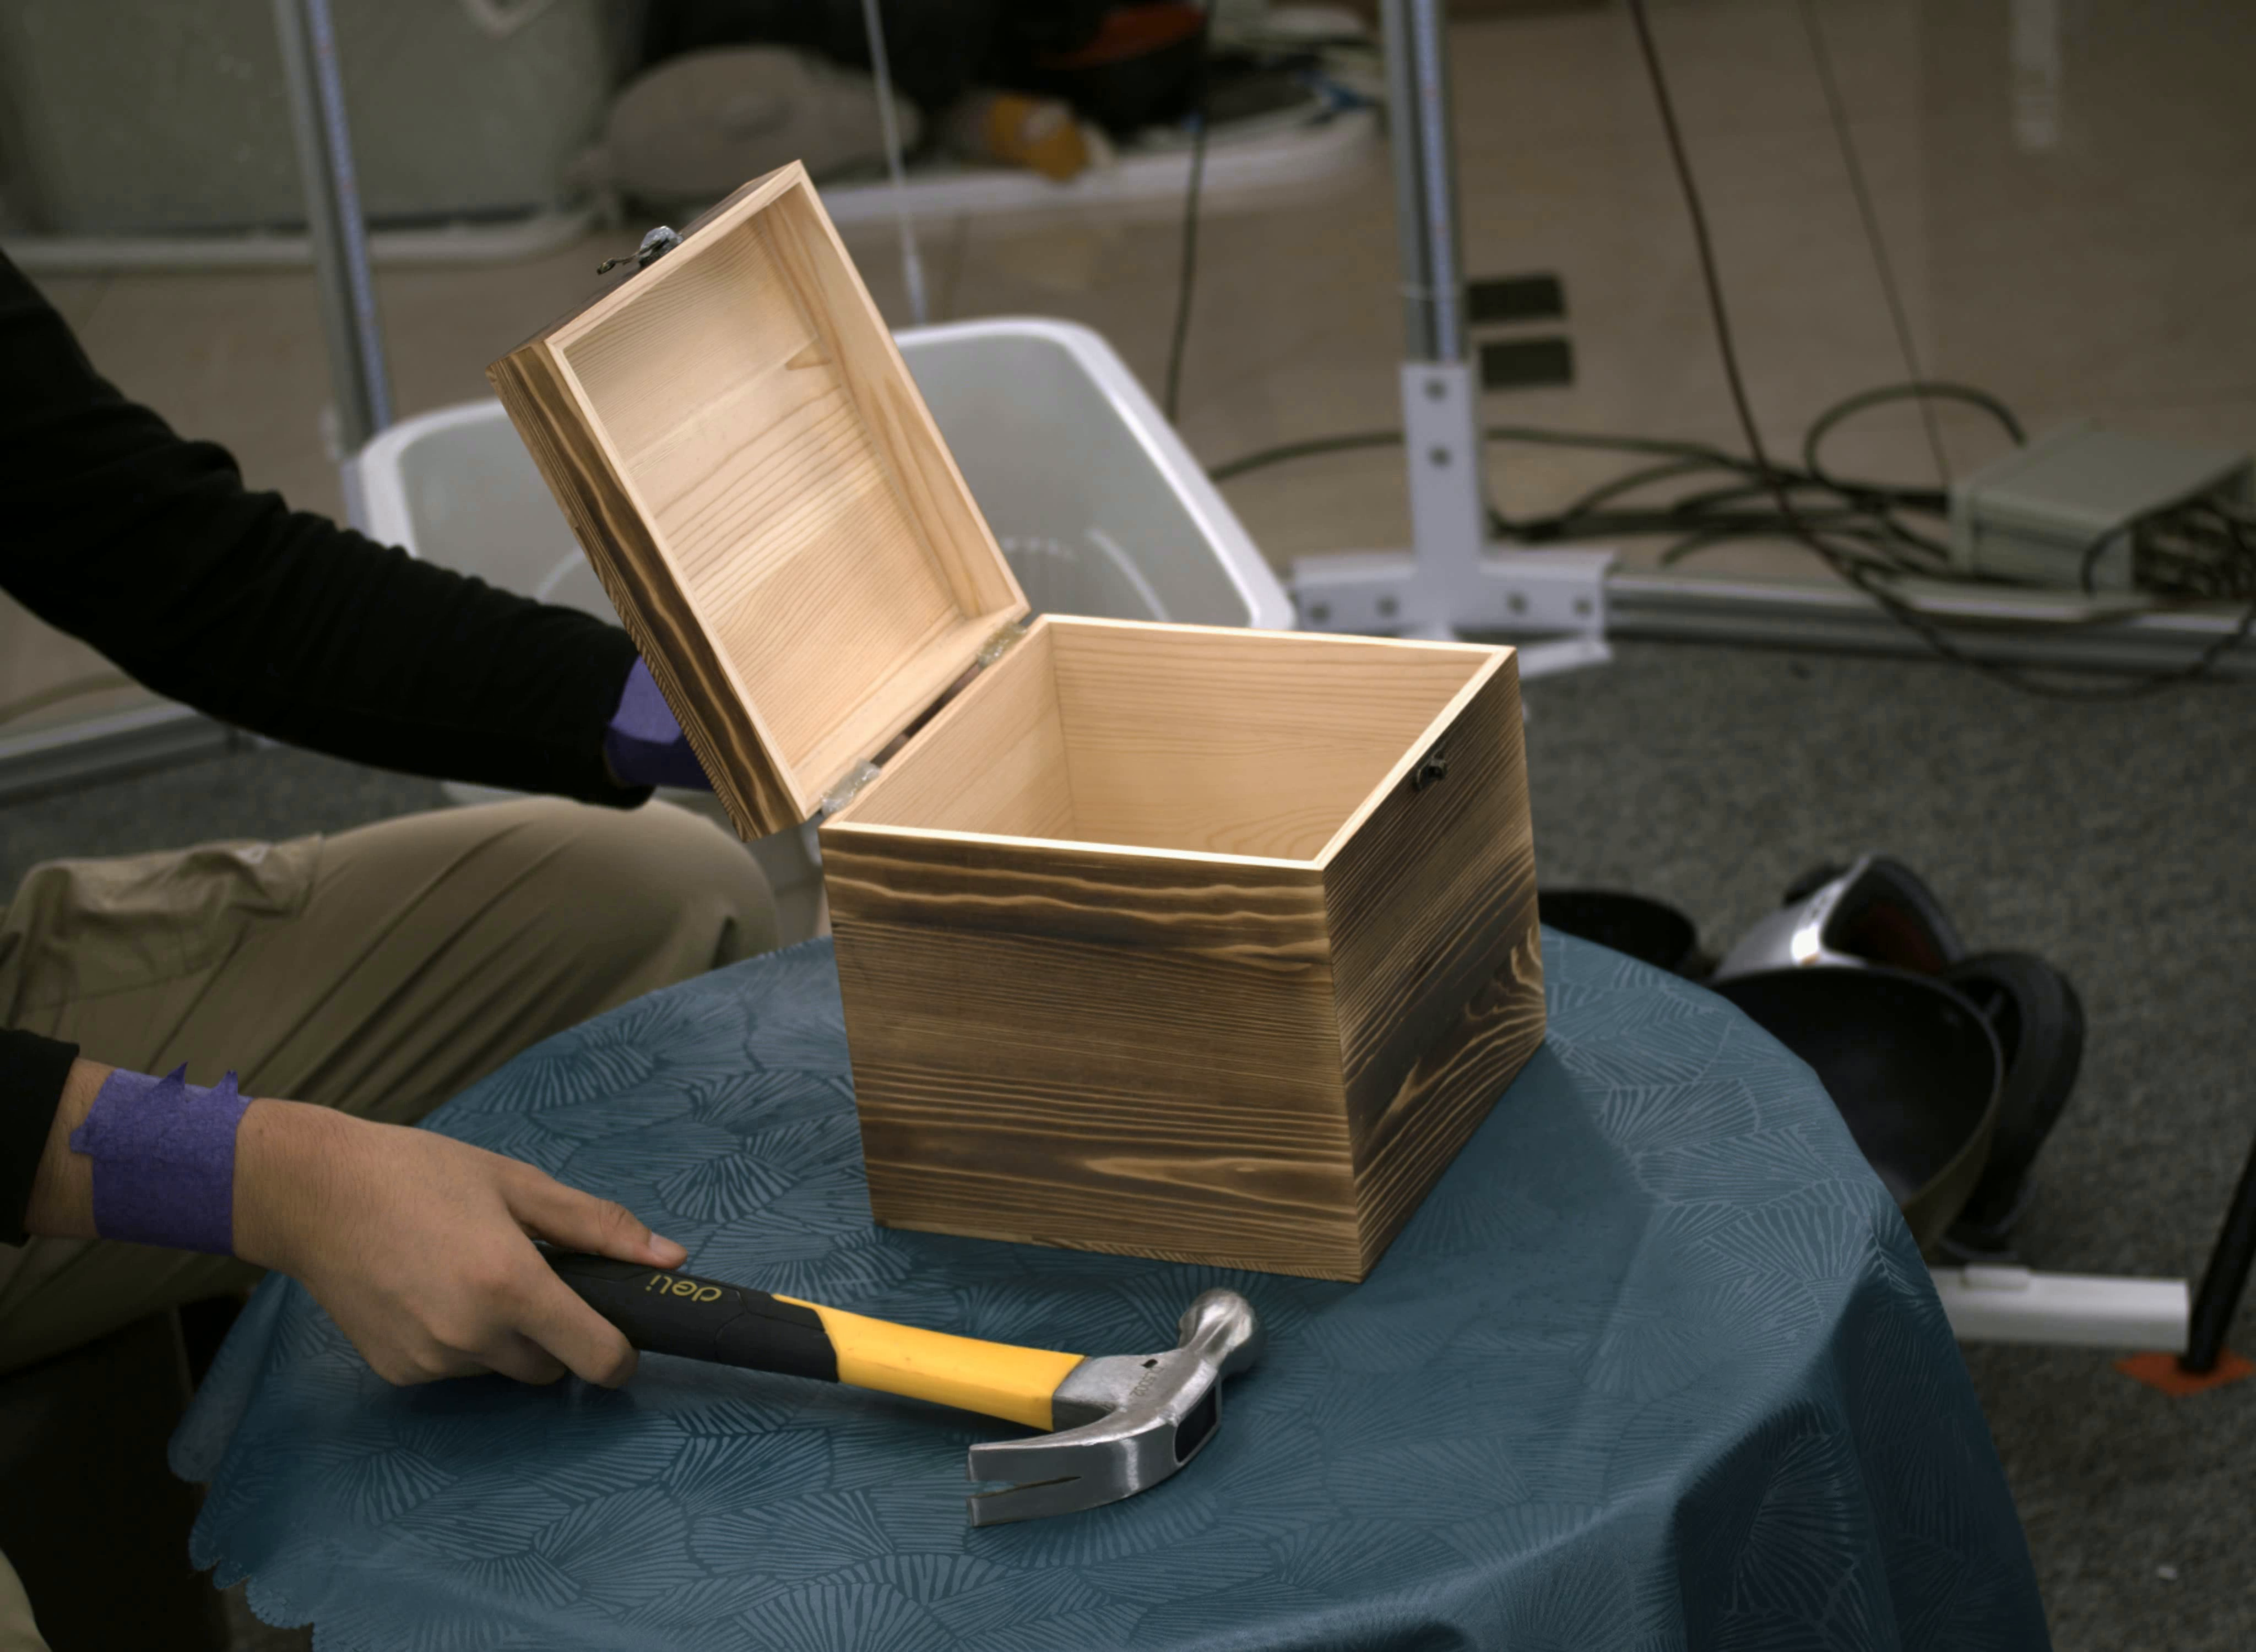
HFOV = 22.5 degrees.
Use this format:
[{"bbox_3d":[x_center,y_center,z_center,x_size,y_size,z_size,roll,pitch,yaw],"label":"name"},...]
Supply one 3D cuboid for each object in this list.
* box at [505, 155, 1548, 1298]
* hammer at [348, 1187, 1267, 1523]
[{"bbox_3d":[-0.031,-0.047,2.127,0.321,0.381,0.206,5,29,24],"label":"box"},{"bbox_3d":[-0.129,0.177,2.029,0.337,0.033,0.129,11,31,22],"label":"hammer"}]
